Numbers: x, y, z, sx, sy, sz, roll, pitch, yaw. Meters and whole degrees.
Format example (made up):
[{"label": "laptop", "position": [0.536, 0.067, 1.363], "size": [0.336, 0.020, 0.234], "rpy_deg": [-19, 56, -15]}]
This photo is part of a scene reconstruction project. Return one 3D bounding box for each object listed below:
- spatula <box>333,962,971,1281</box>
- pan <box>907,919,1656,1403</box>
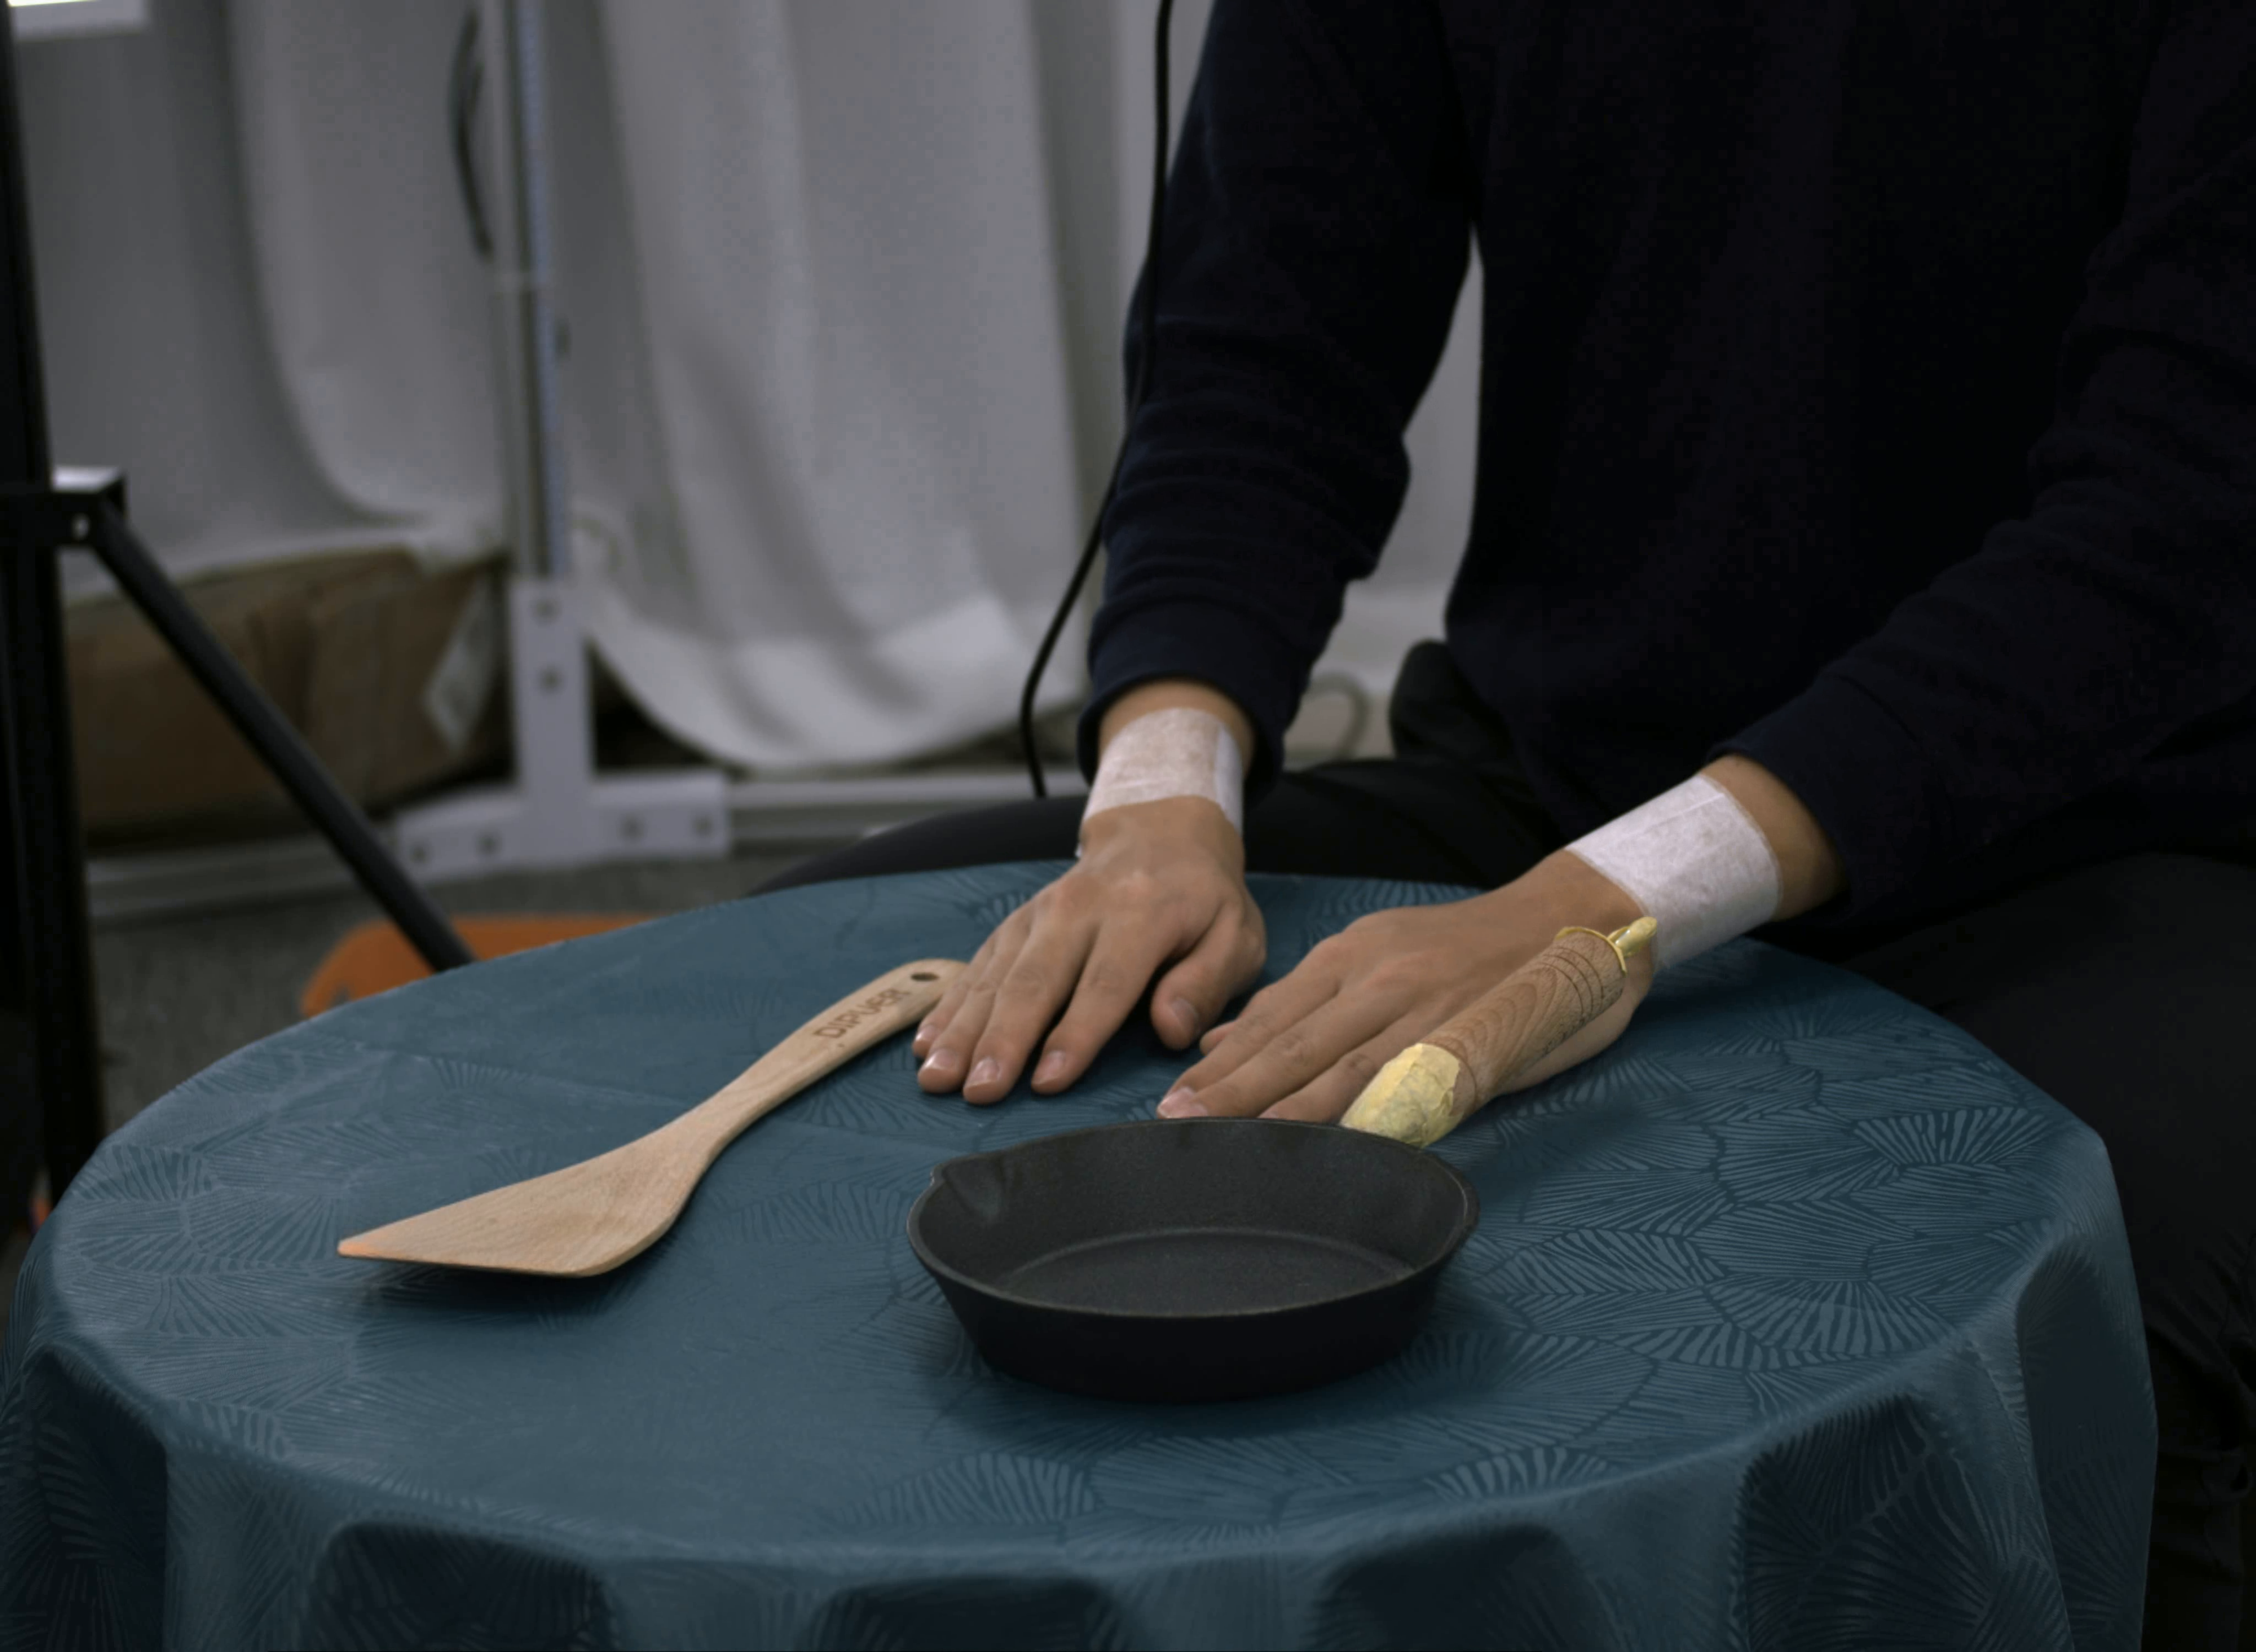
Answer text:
[{"label": "spatula", "position": [-0.125, 0.087, 1.624], "size": [0.081, 0.016, 0.323], "rpy_deg": [6, 18, 24]}, {"label": "pan", "position": [0.067, 0.092, 1.512], "size": [0.172, 0.049, 0.317], "rpy_deg": [9, 21, 36]}]
